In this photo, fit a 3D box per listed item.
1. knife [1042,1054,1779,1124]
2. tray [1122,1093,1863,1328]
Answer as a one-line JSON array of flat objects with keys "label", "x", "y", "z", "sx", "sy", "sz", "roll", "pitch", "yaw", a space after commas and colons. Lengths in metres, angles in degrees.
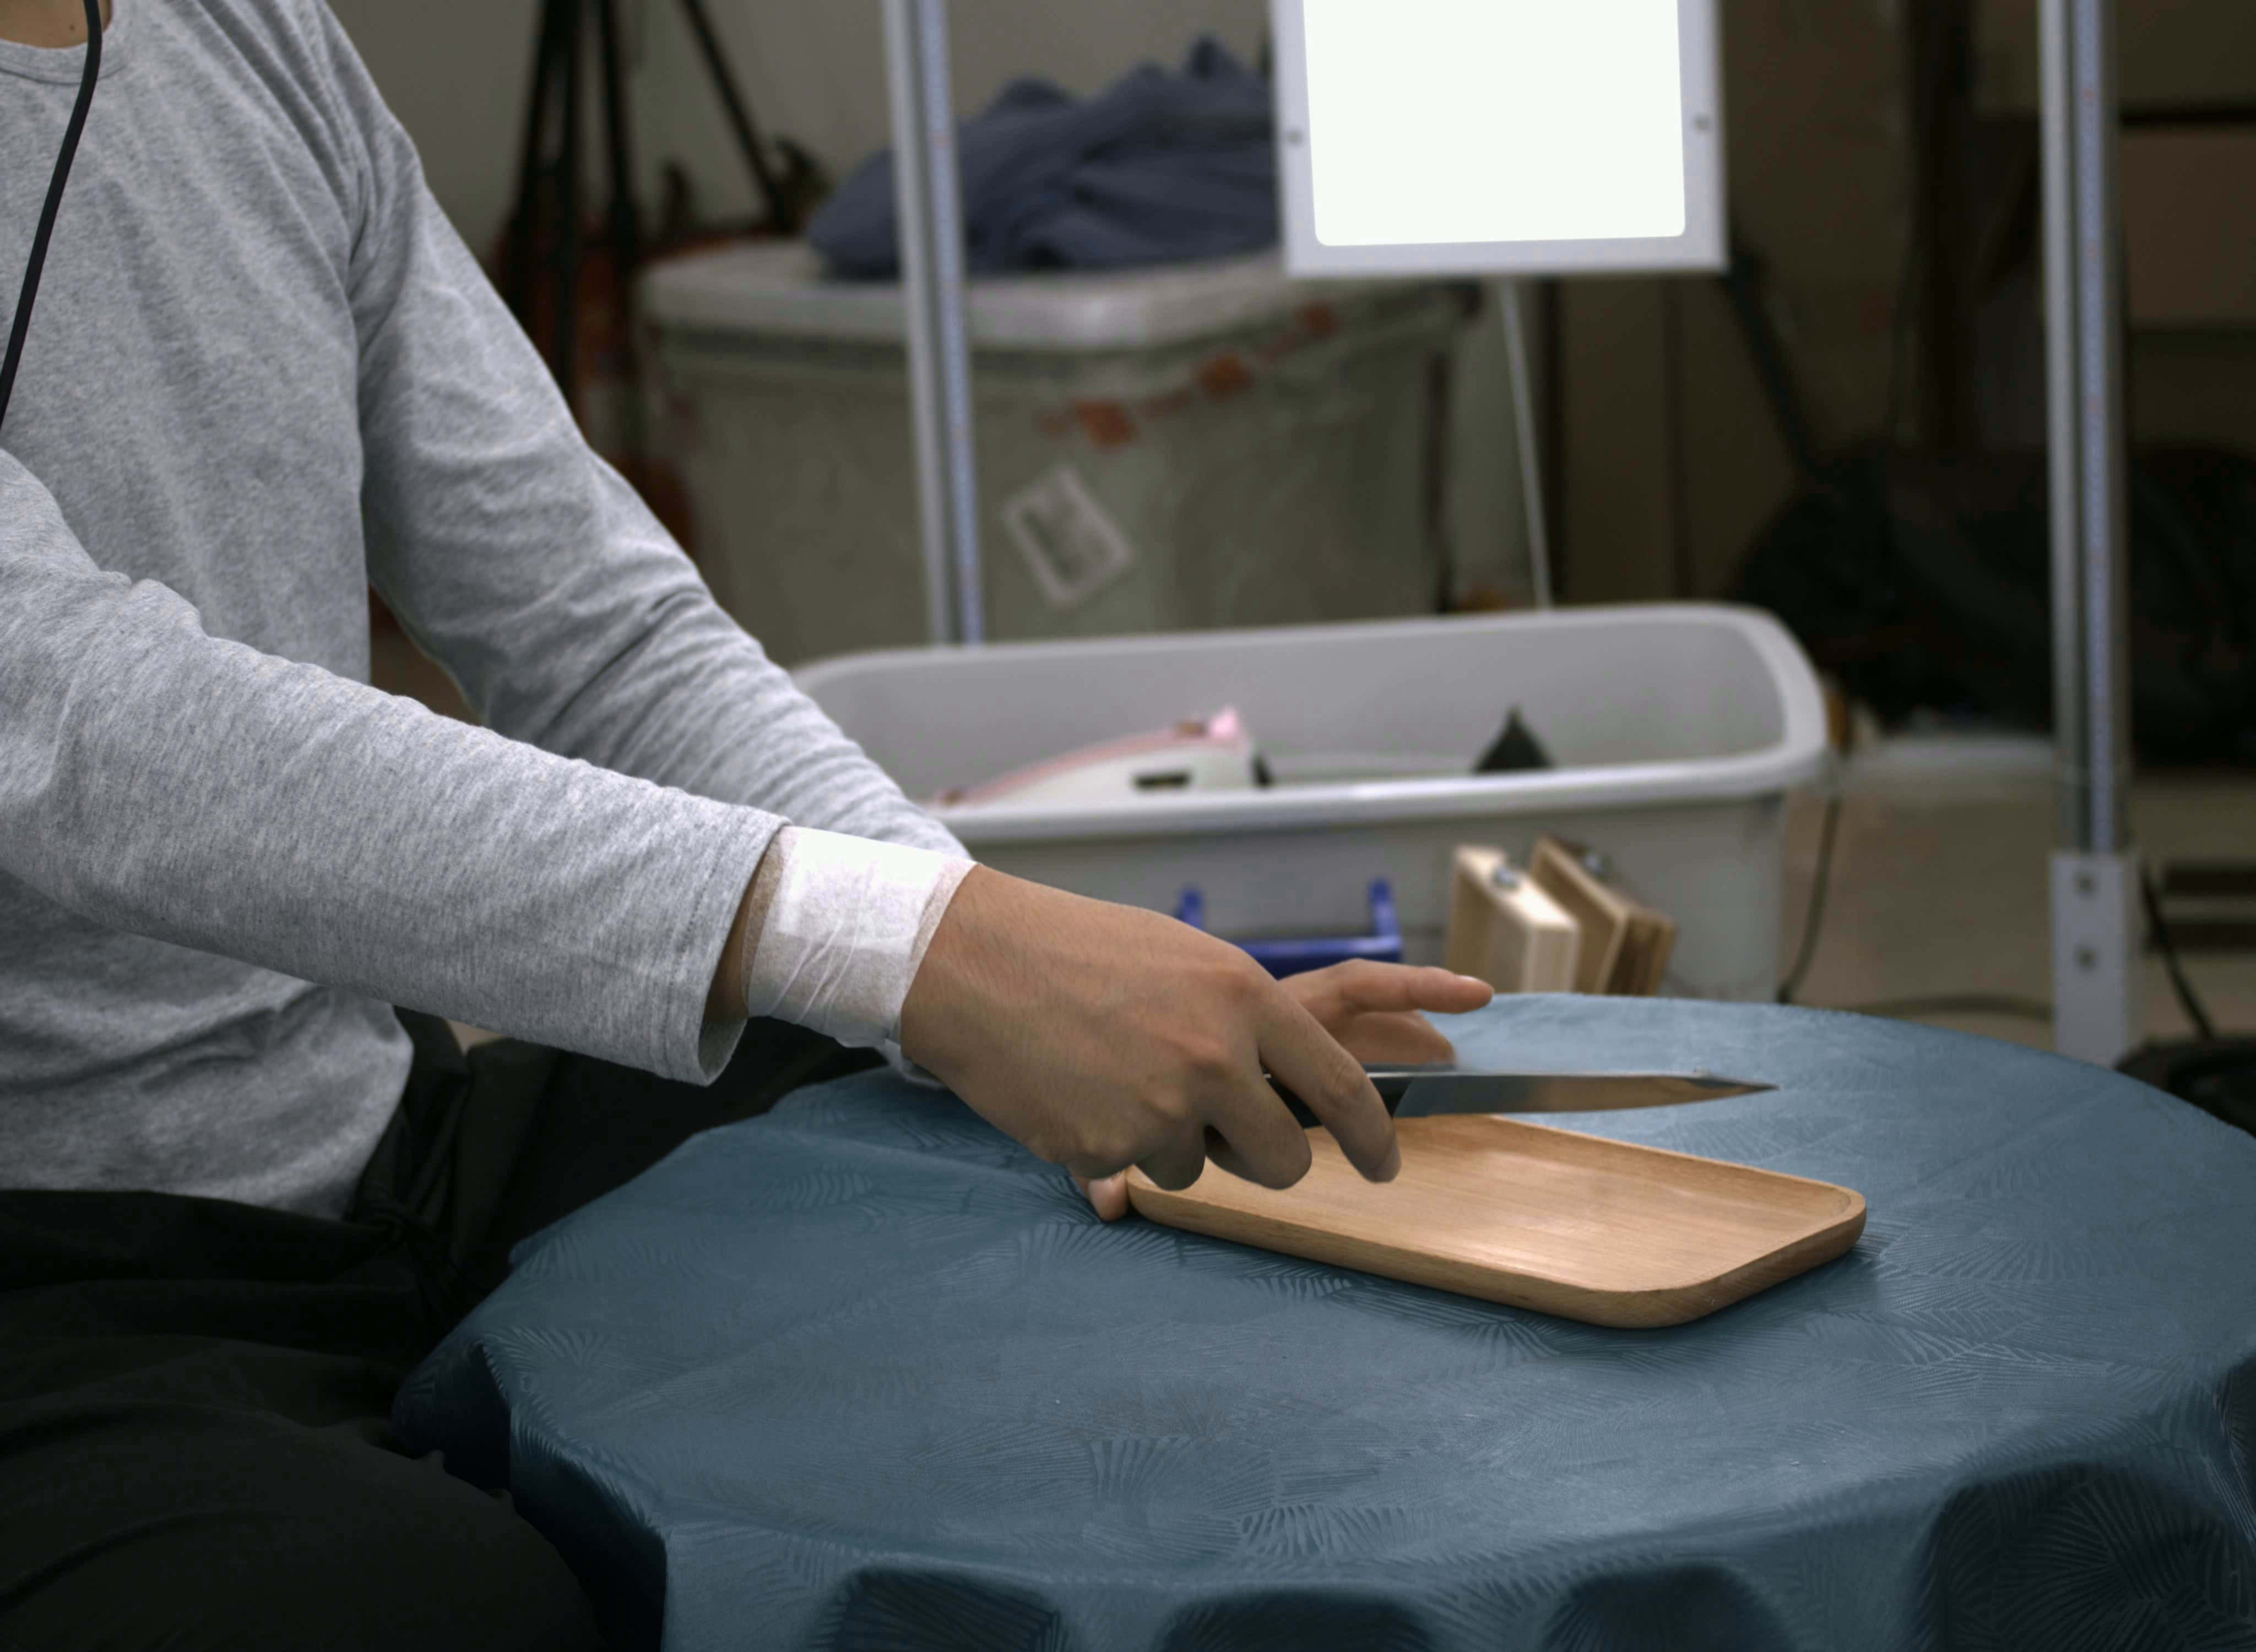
[{"label": "knife", "x": 0.090, "y": 0.080, "z": 1.682, "sx": 0.235, "sy": 0.025, "sz": 0.016, "roll": 0, "pitch": 54, "yaw": -13}, {"label": "tray", "x": 0.119, "y": 0.125, "z": 1.830, "sx": 0.127, "sy": 0.023, "sz": 0.256, "roll": -14, "pitch": 15, "yaw": -41}]
